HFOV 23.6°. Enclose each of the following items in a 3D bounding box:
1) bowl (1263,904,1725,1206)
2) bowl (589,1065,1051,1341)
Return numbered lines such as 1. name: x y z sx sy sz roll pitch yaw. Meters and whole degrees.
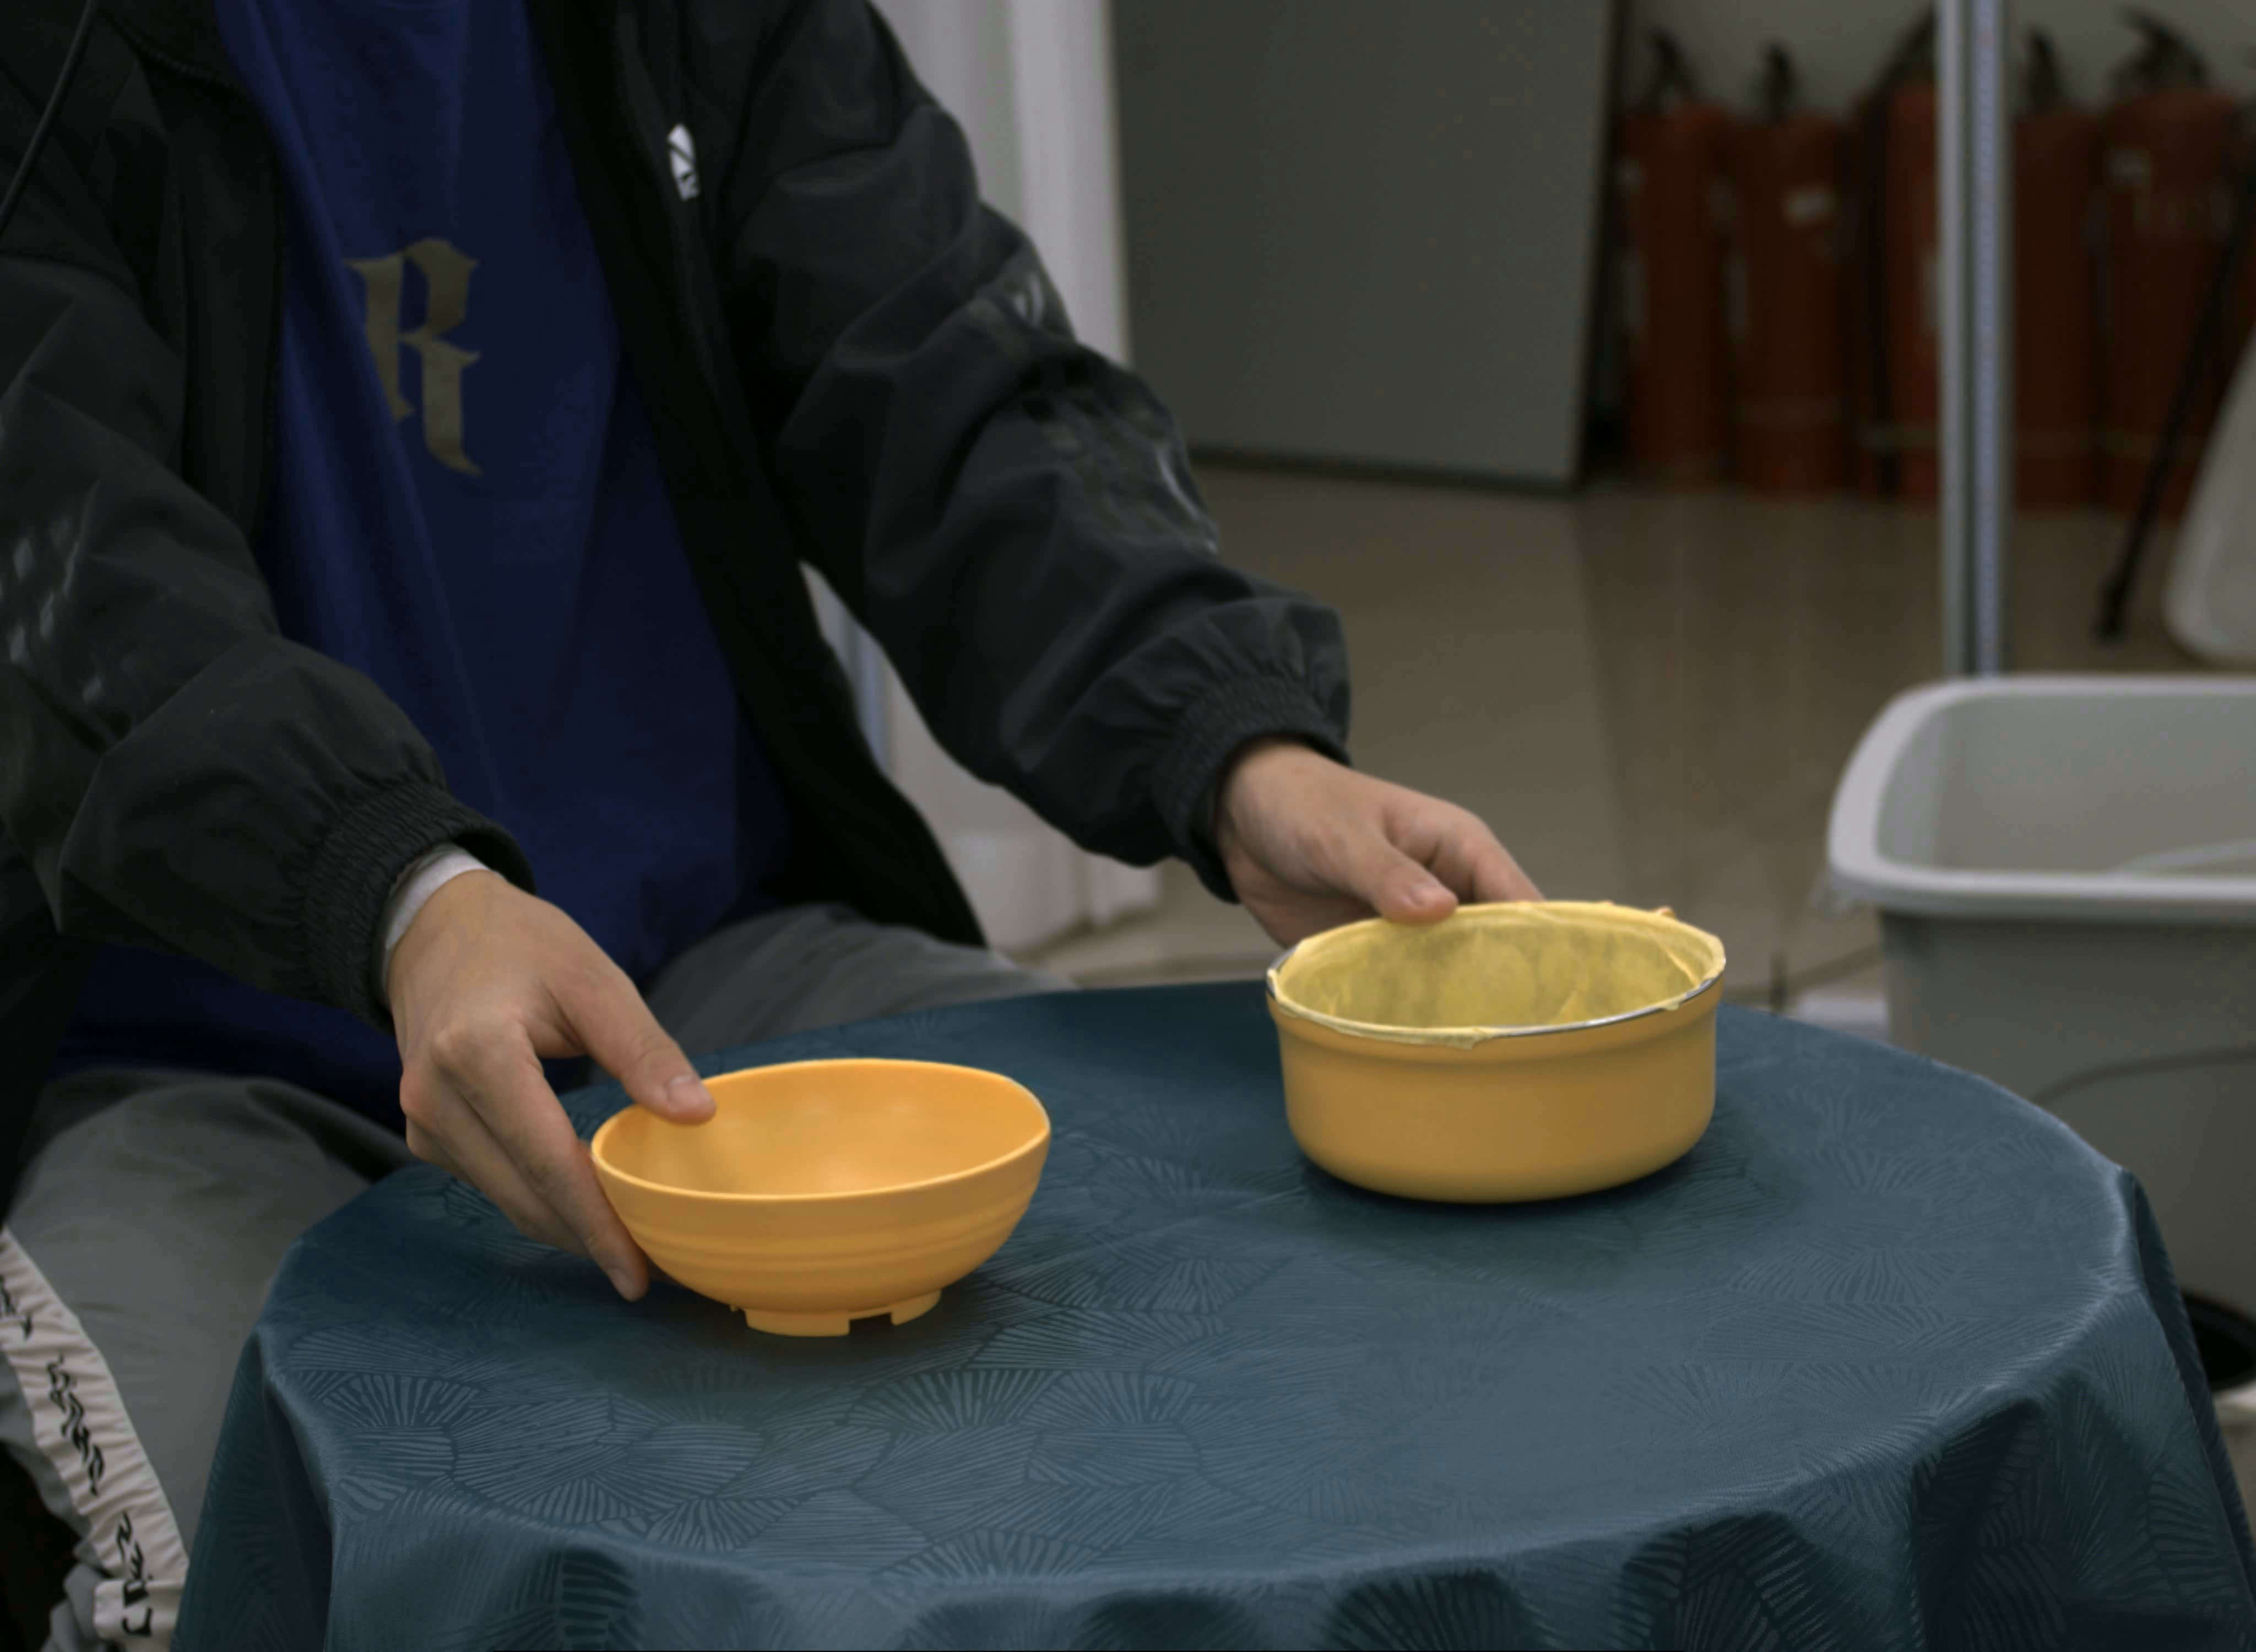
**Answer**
1. bowl: 0.130 0.074 1.782 0.153 0.075 0.176 1 15 32
2. bowl: -0.094 0.121 1.675 0.143 0.061 0.145 -1 13 -1
